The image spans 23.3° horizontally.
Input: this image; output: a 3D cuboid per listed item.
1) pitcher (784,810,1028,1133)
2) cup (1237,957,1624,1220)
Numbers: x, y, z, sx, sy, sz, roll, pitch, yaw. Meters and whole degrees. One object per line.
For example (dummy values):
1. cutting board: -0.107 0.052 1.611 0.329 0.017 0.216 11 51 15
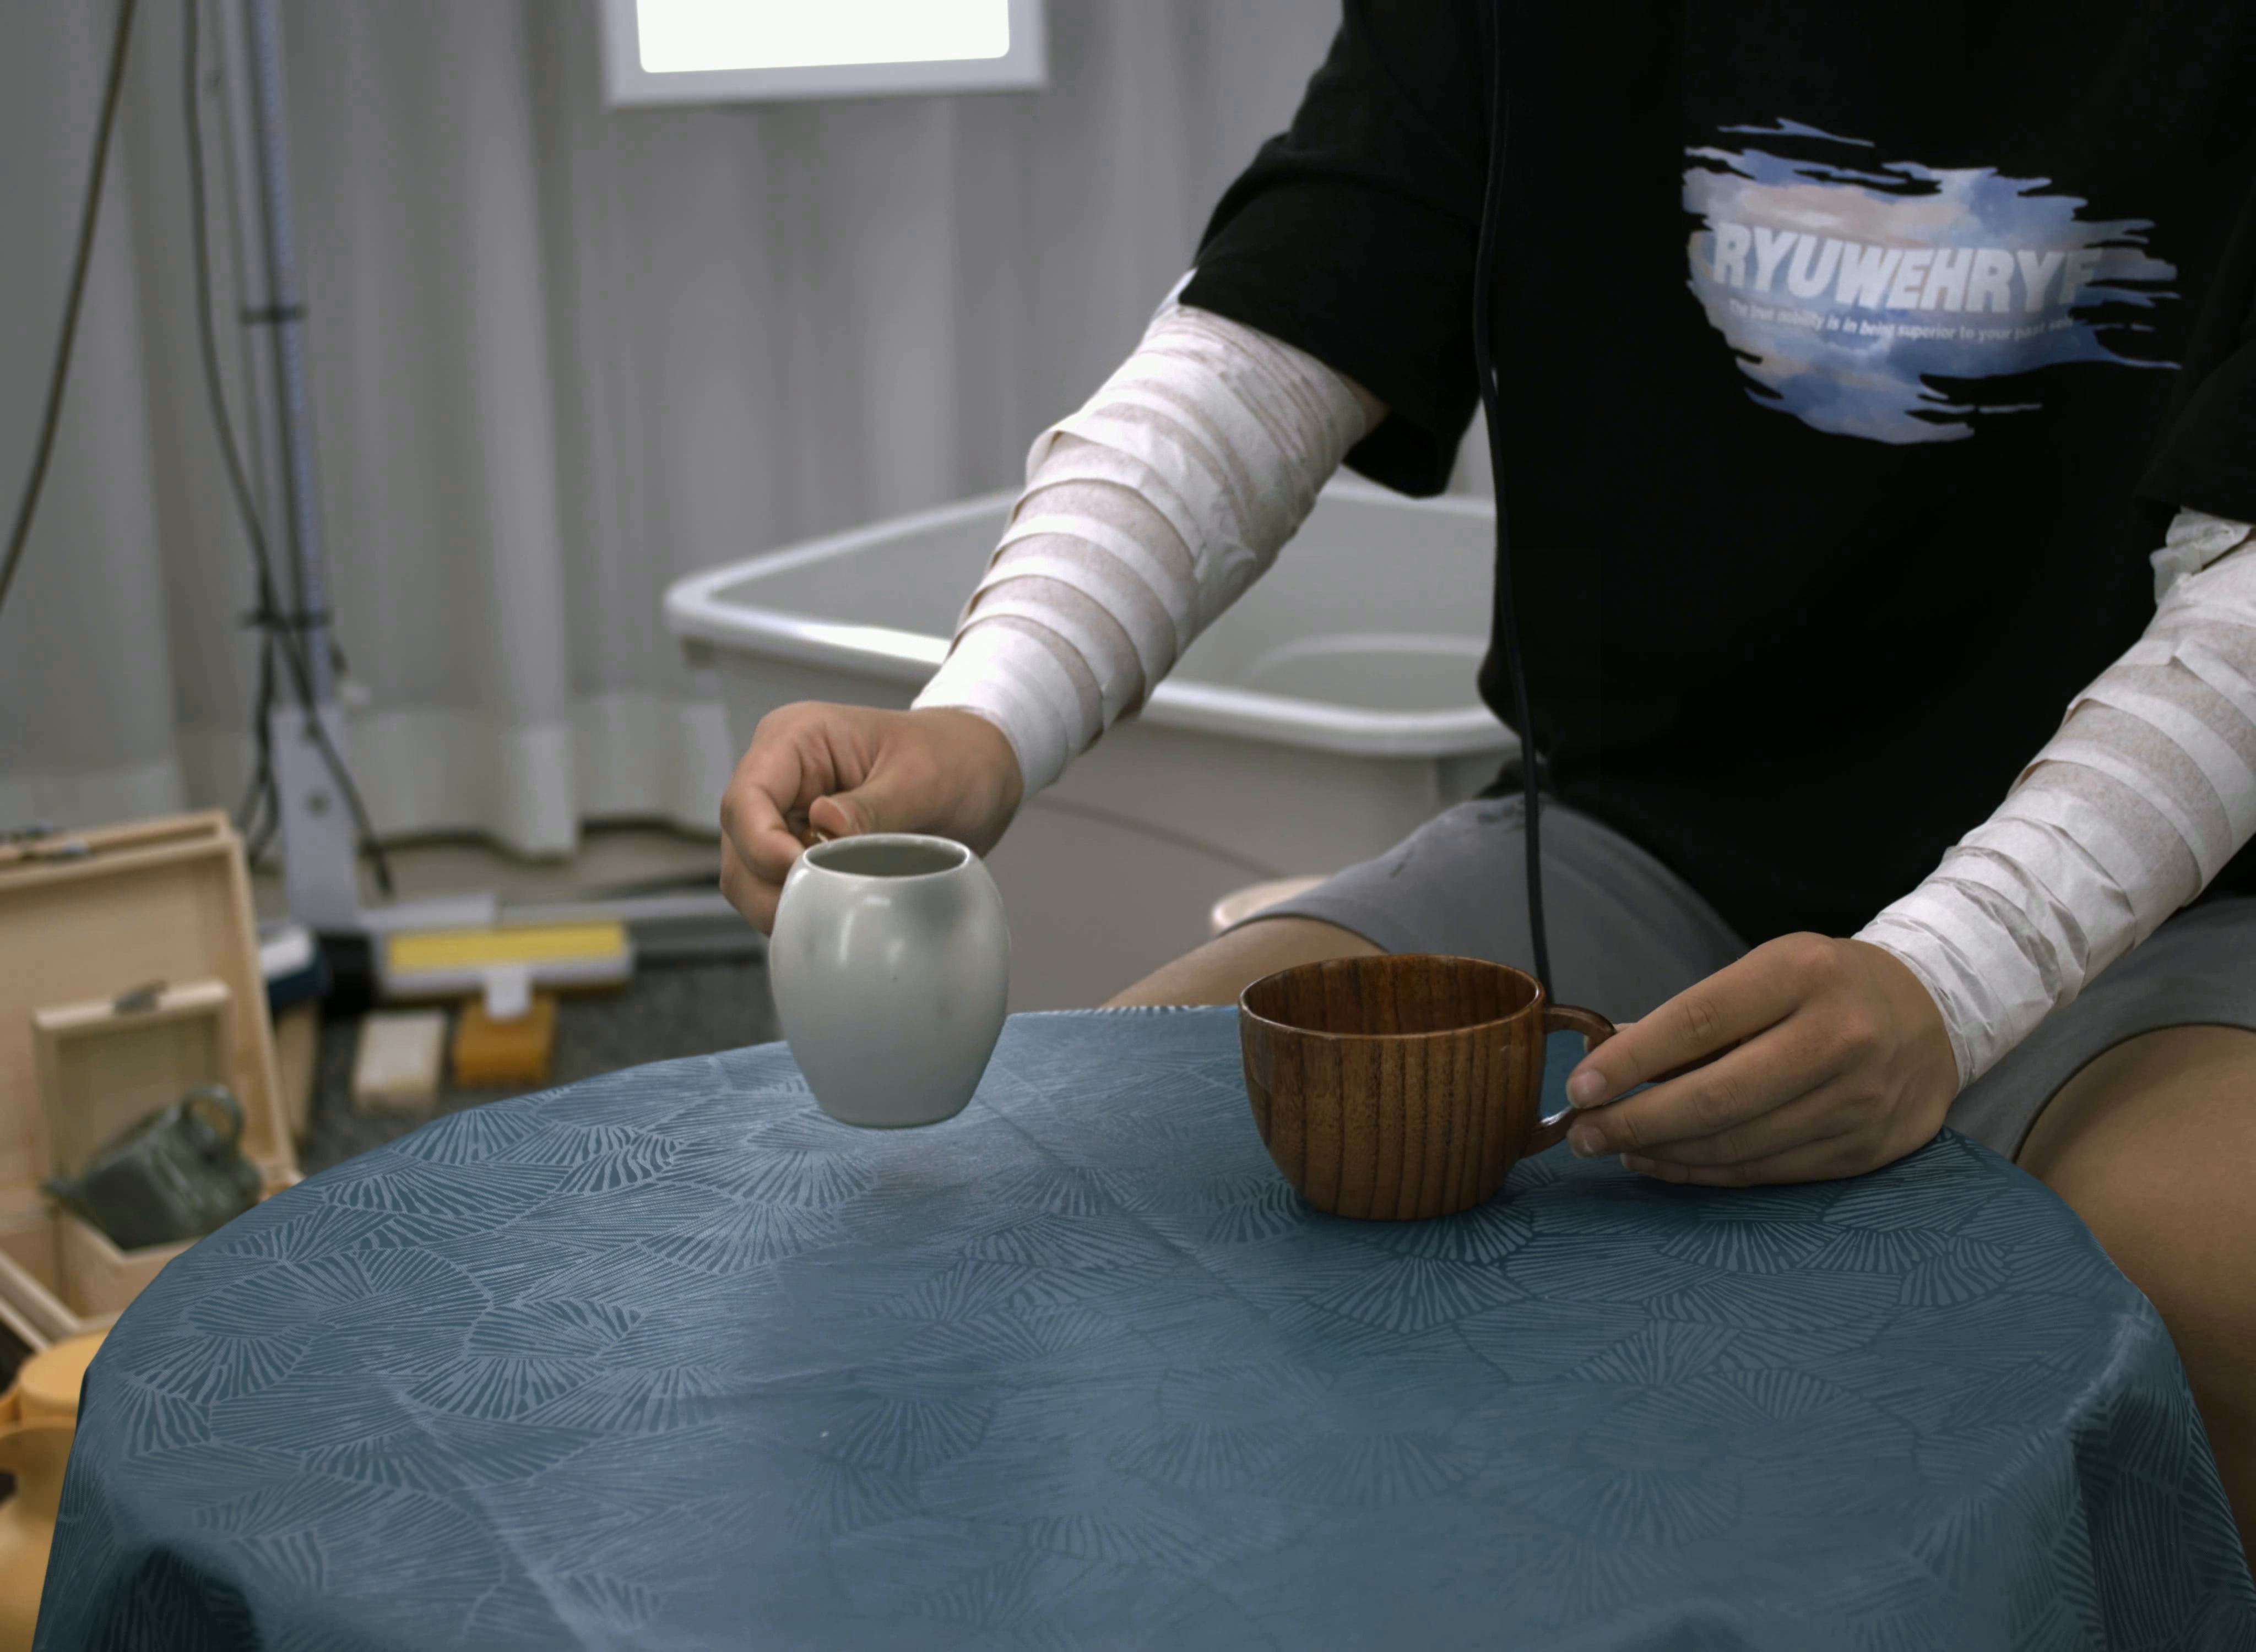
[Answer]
1. pitcher: -0.073 0.044 1.709 0.075 0.087 0.120 -1 18 -23
2. cup: 0.093 0.083 1.690 0.119 0.067 0.096 1 11 8
